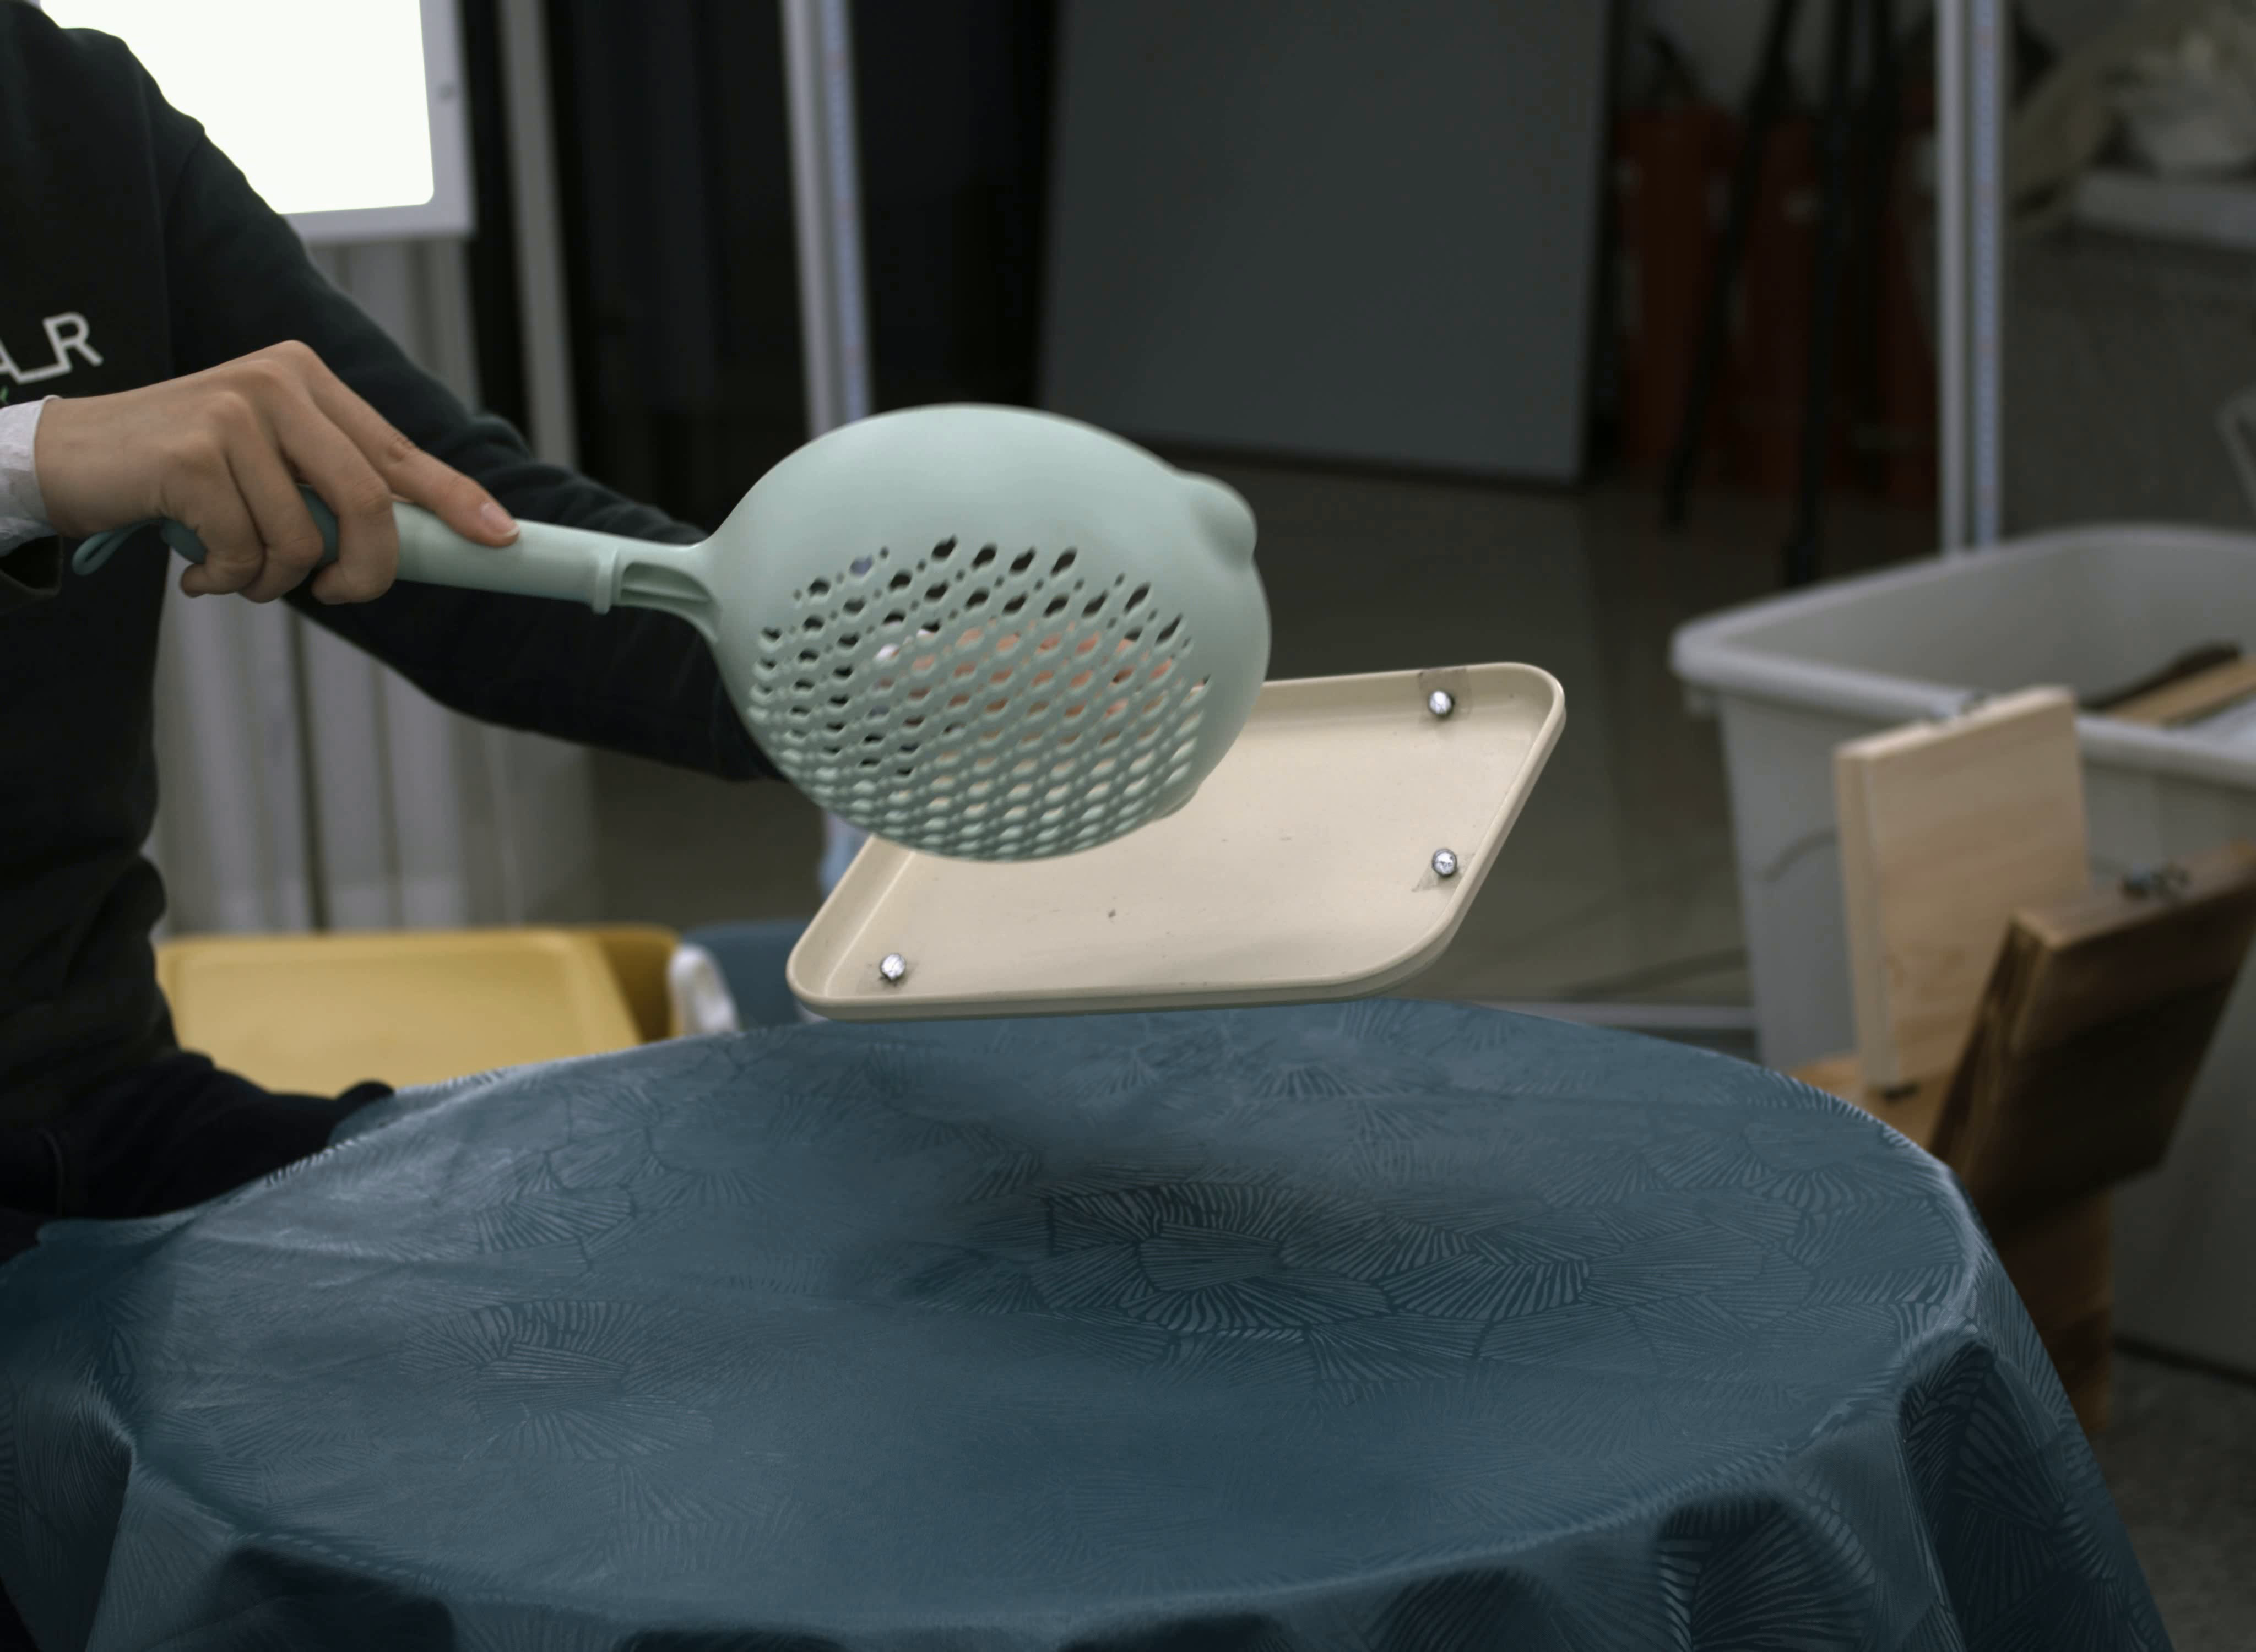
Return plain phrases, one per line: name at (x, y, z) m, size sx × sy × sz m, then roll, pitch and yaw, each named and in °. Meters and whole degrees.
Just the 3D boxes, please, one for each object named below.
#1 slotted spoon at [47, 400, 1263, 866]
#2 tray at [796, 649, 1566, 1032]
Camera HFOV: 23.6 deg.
slotted spoon at (-0.139, -0.070, 1.611) m, size 0.355 × 0.170 × 0.075 m, roll 15°, pitch 43°, yaw 4°
tray at (0.018, 0.007, 1.727) m, size 0.240 × 0.017 × 0.170 m, roll -6°, pitch 33°, yaw 31°
